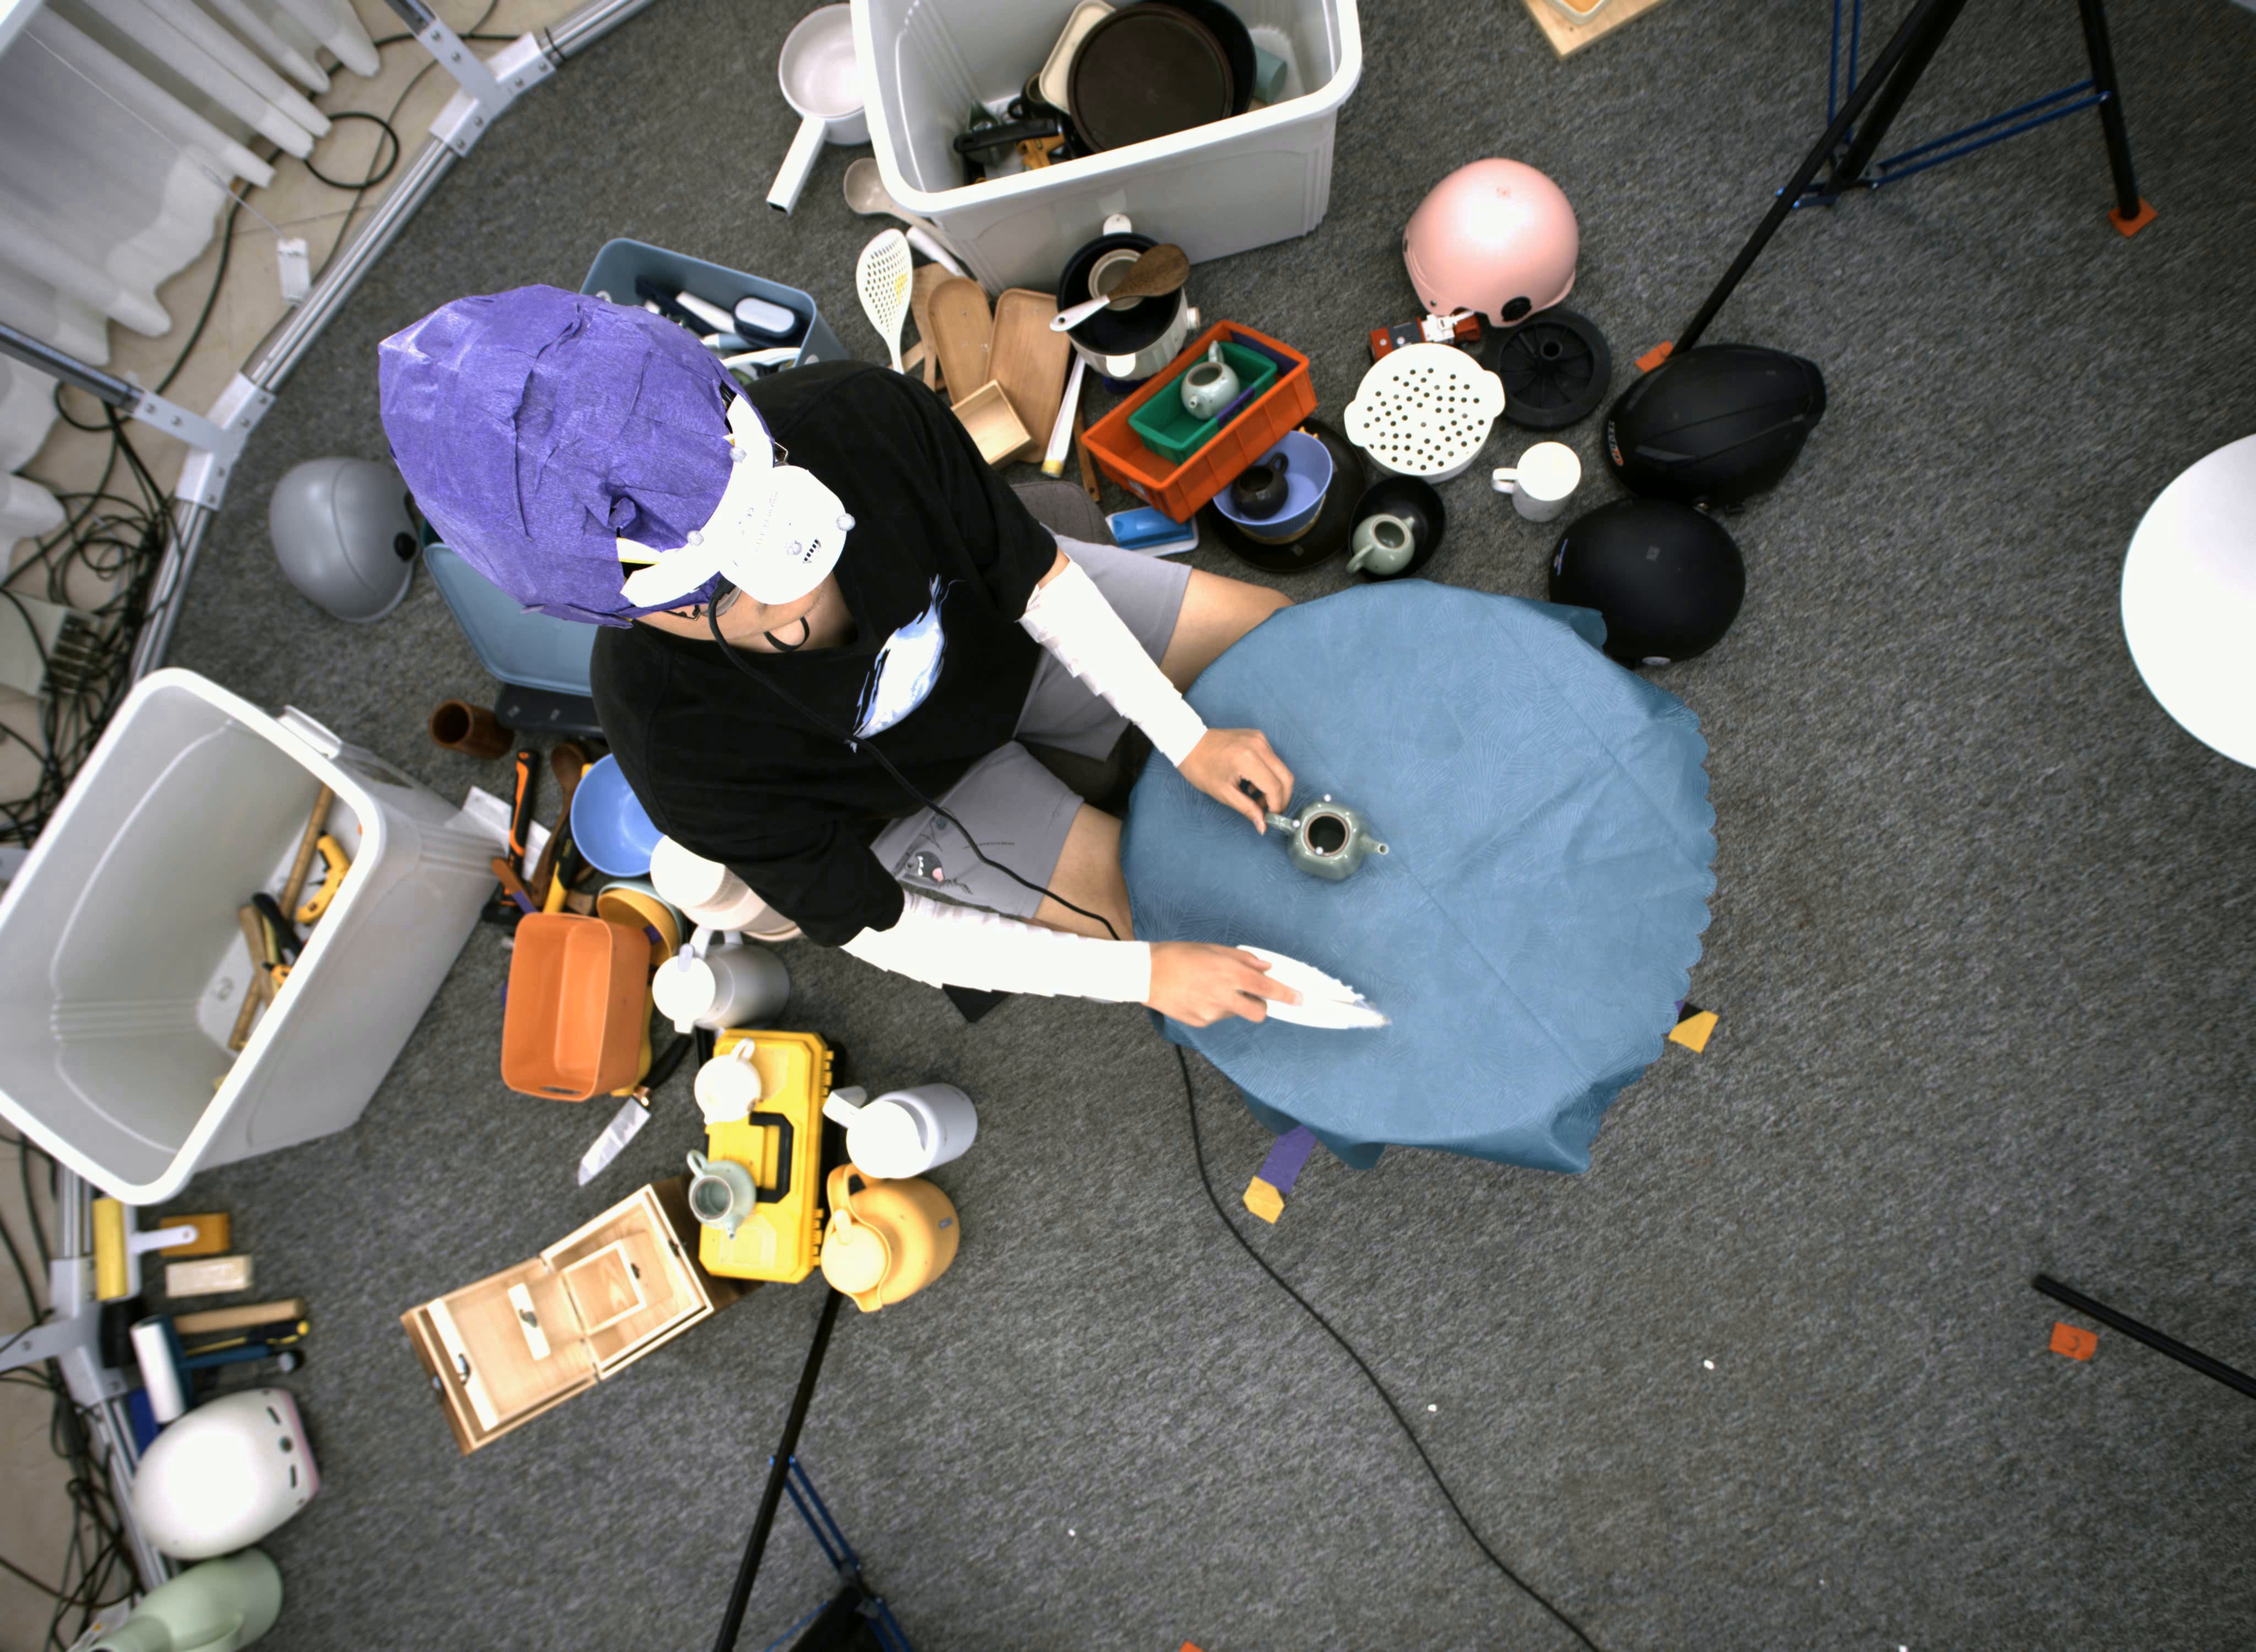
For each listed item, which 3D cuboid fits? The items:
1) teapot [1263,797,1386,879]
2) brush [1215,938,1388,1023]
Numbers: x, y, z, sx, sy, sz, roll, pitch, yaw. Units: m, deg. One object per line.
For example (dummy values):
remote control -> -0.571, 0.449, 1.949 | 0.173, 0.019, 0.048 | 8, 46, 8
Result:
teapot -> 0.205, 0.009, 1.438 | 0.132, 0.075, 0.079 | 19, 87, 13
brush -> 0.171, 0.164, 1.388 | 0.175, 0.093, 0.062 | 17, 97, 17
